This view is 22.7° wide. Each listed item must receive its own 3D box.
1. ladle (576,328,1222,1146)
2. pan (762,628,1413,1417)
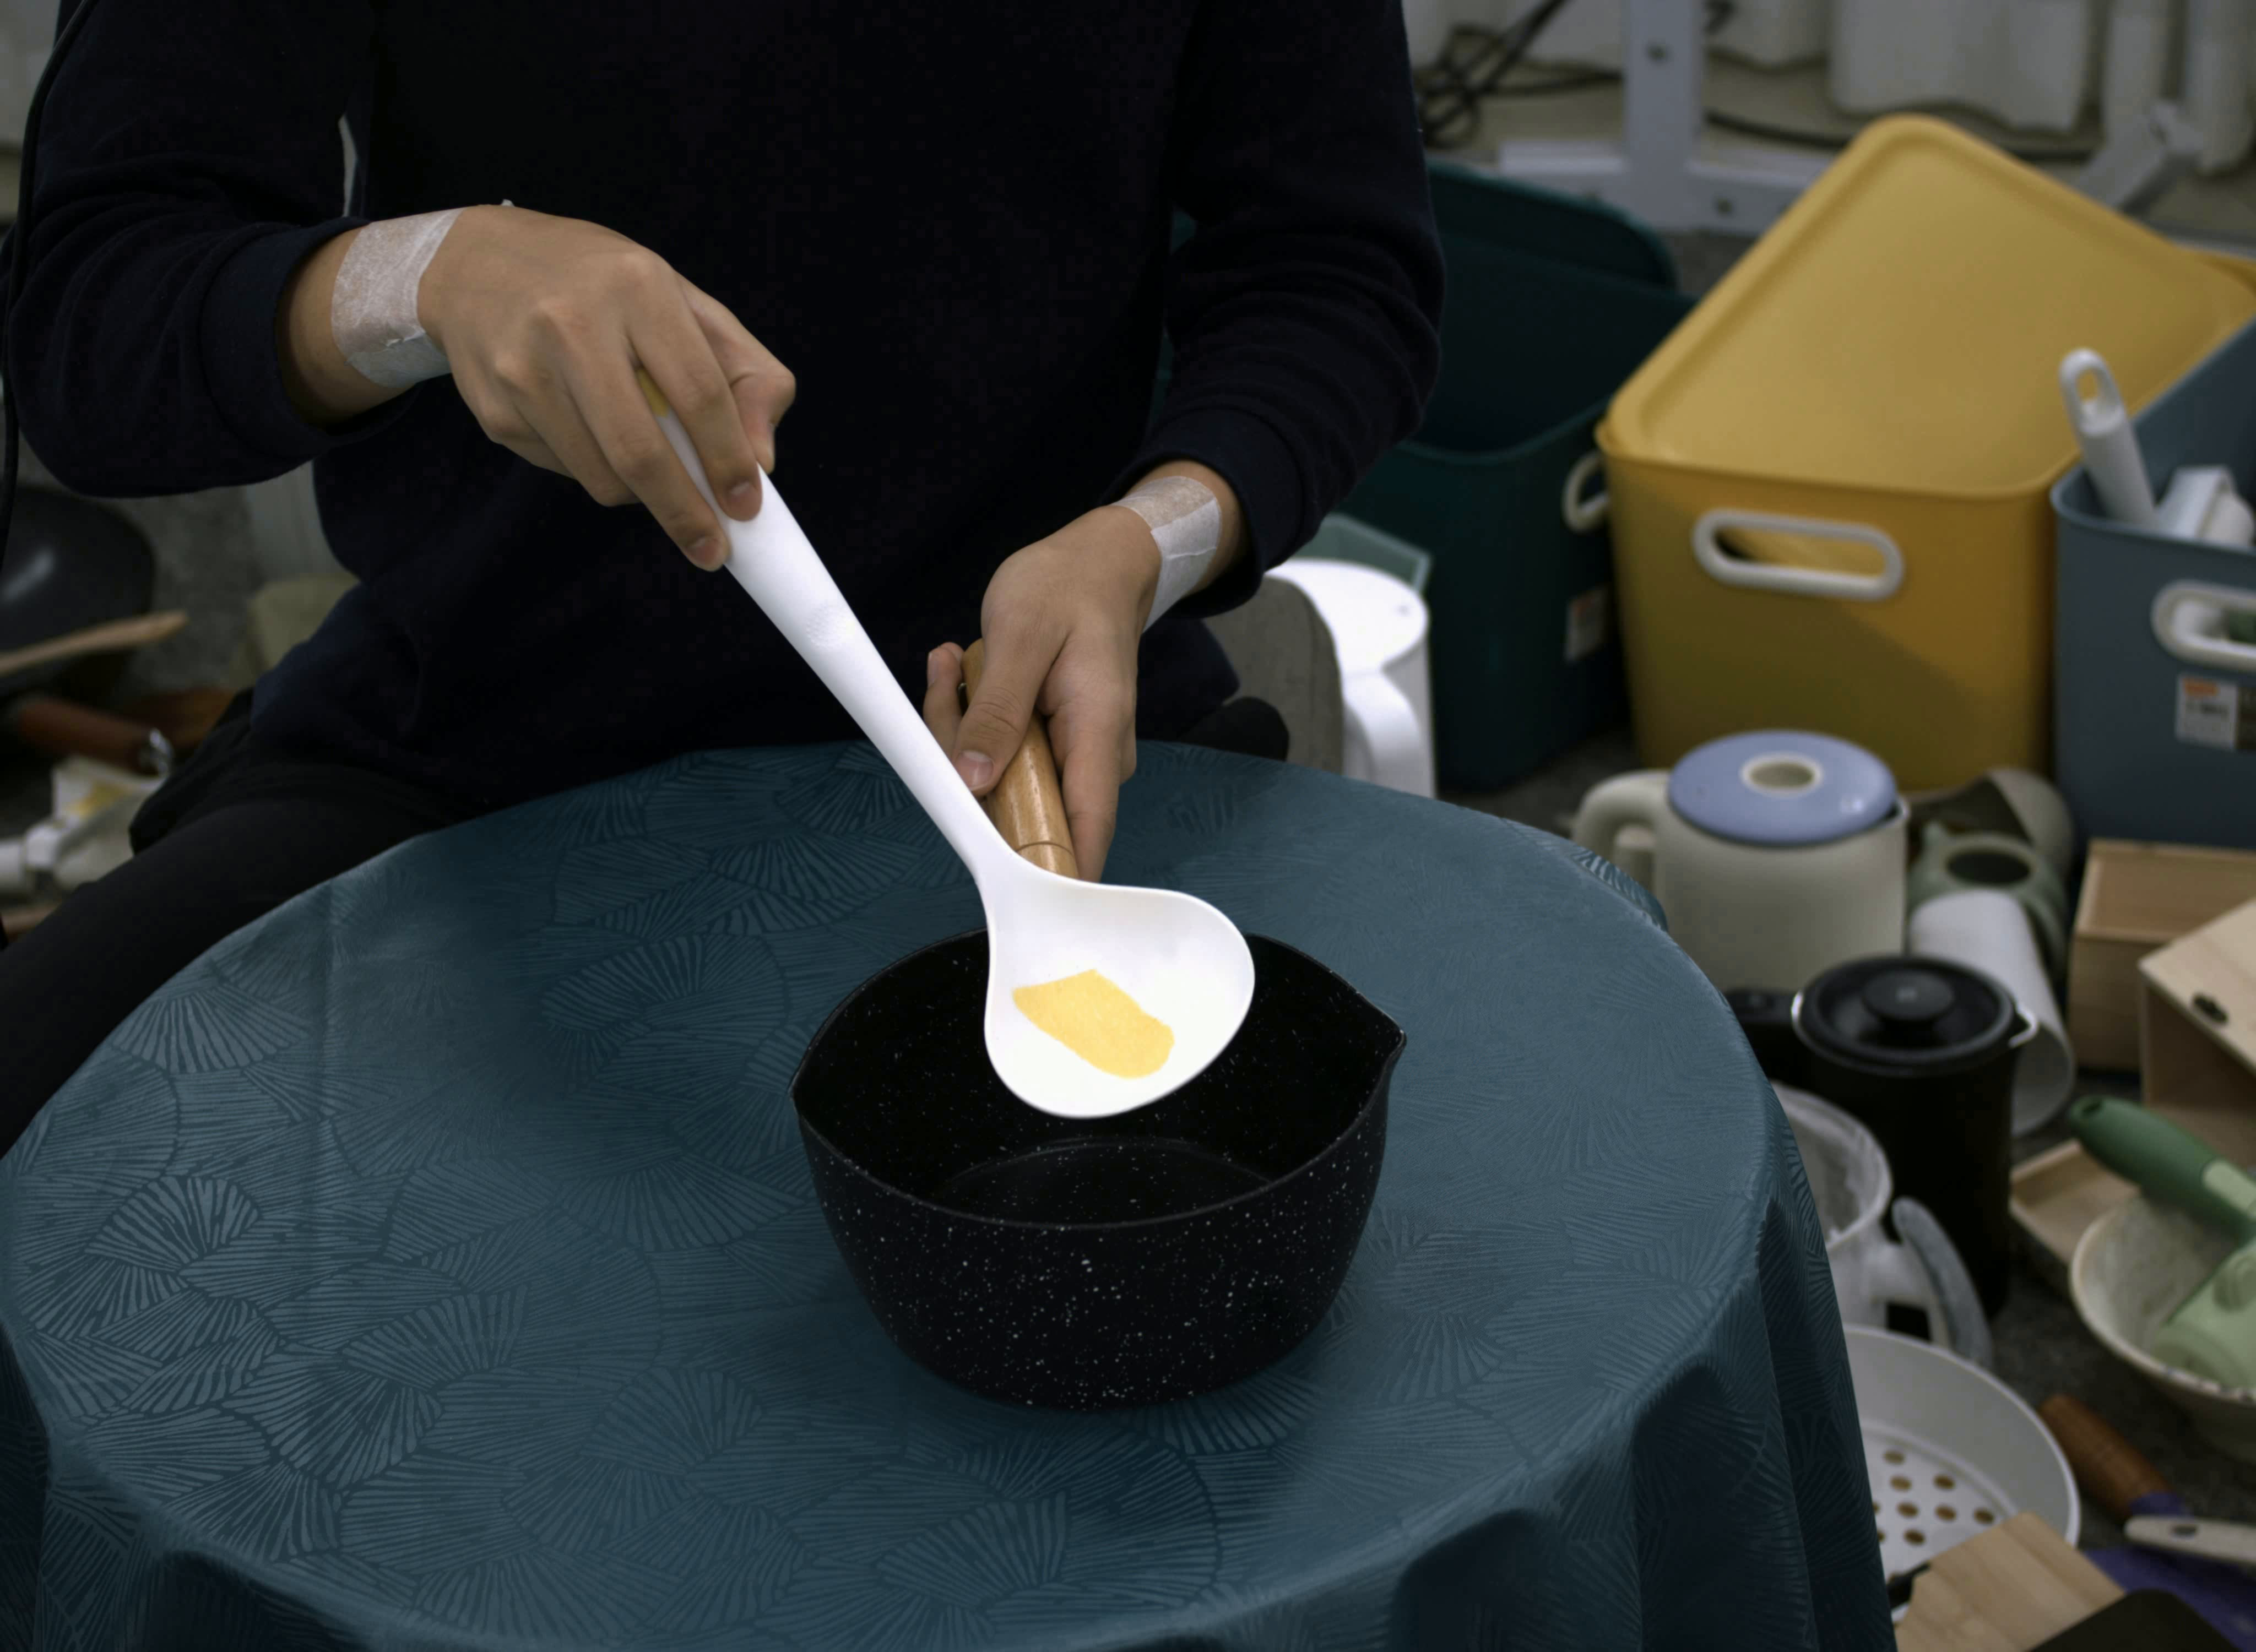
[{"bbox_3d":[-0.079,-0.031,1.779,0.090,0.293,0.070,-35,3,-5],"label":"ladle"},{"bbox_3d":[-0.023,0.061,1.854,0.207,0.107,0.347,-7,31,-7],"label":"pan"}]
